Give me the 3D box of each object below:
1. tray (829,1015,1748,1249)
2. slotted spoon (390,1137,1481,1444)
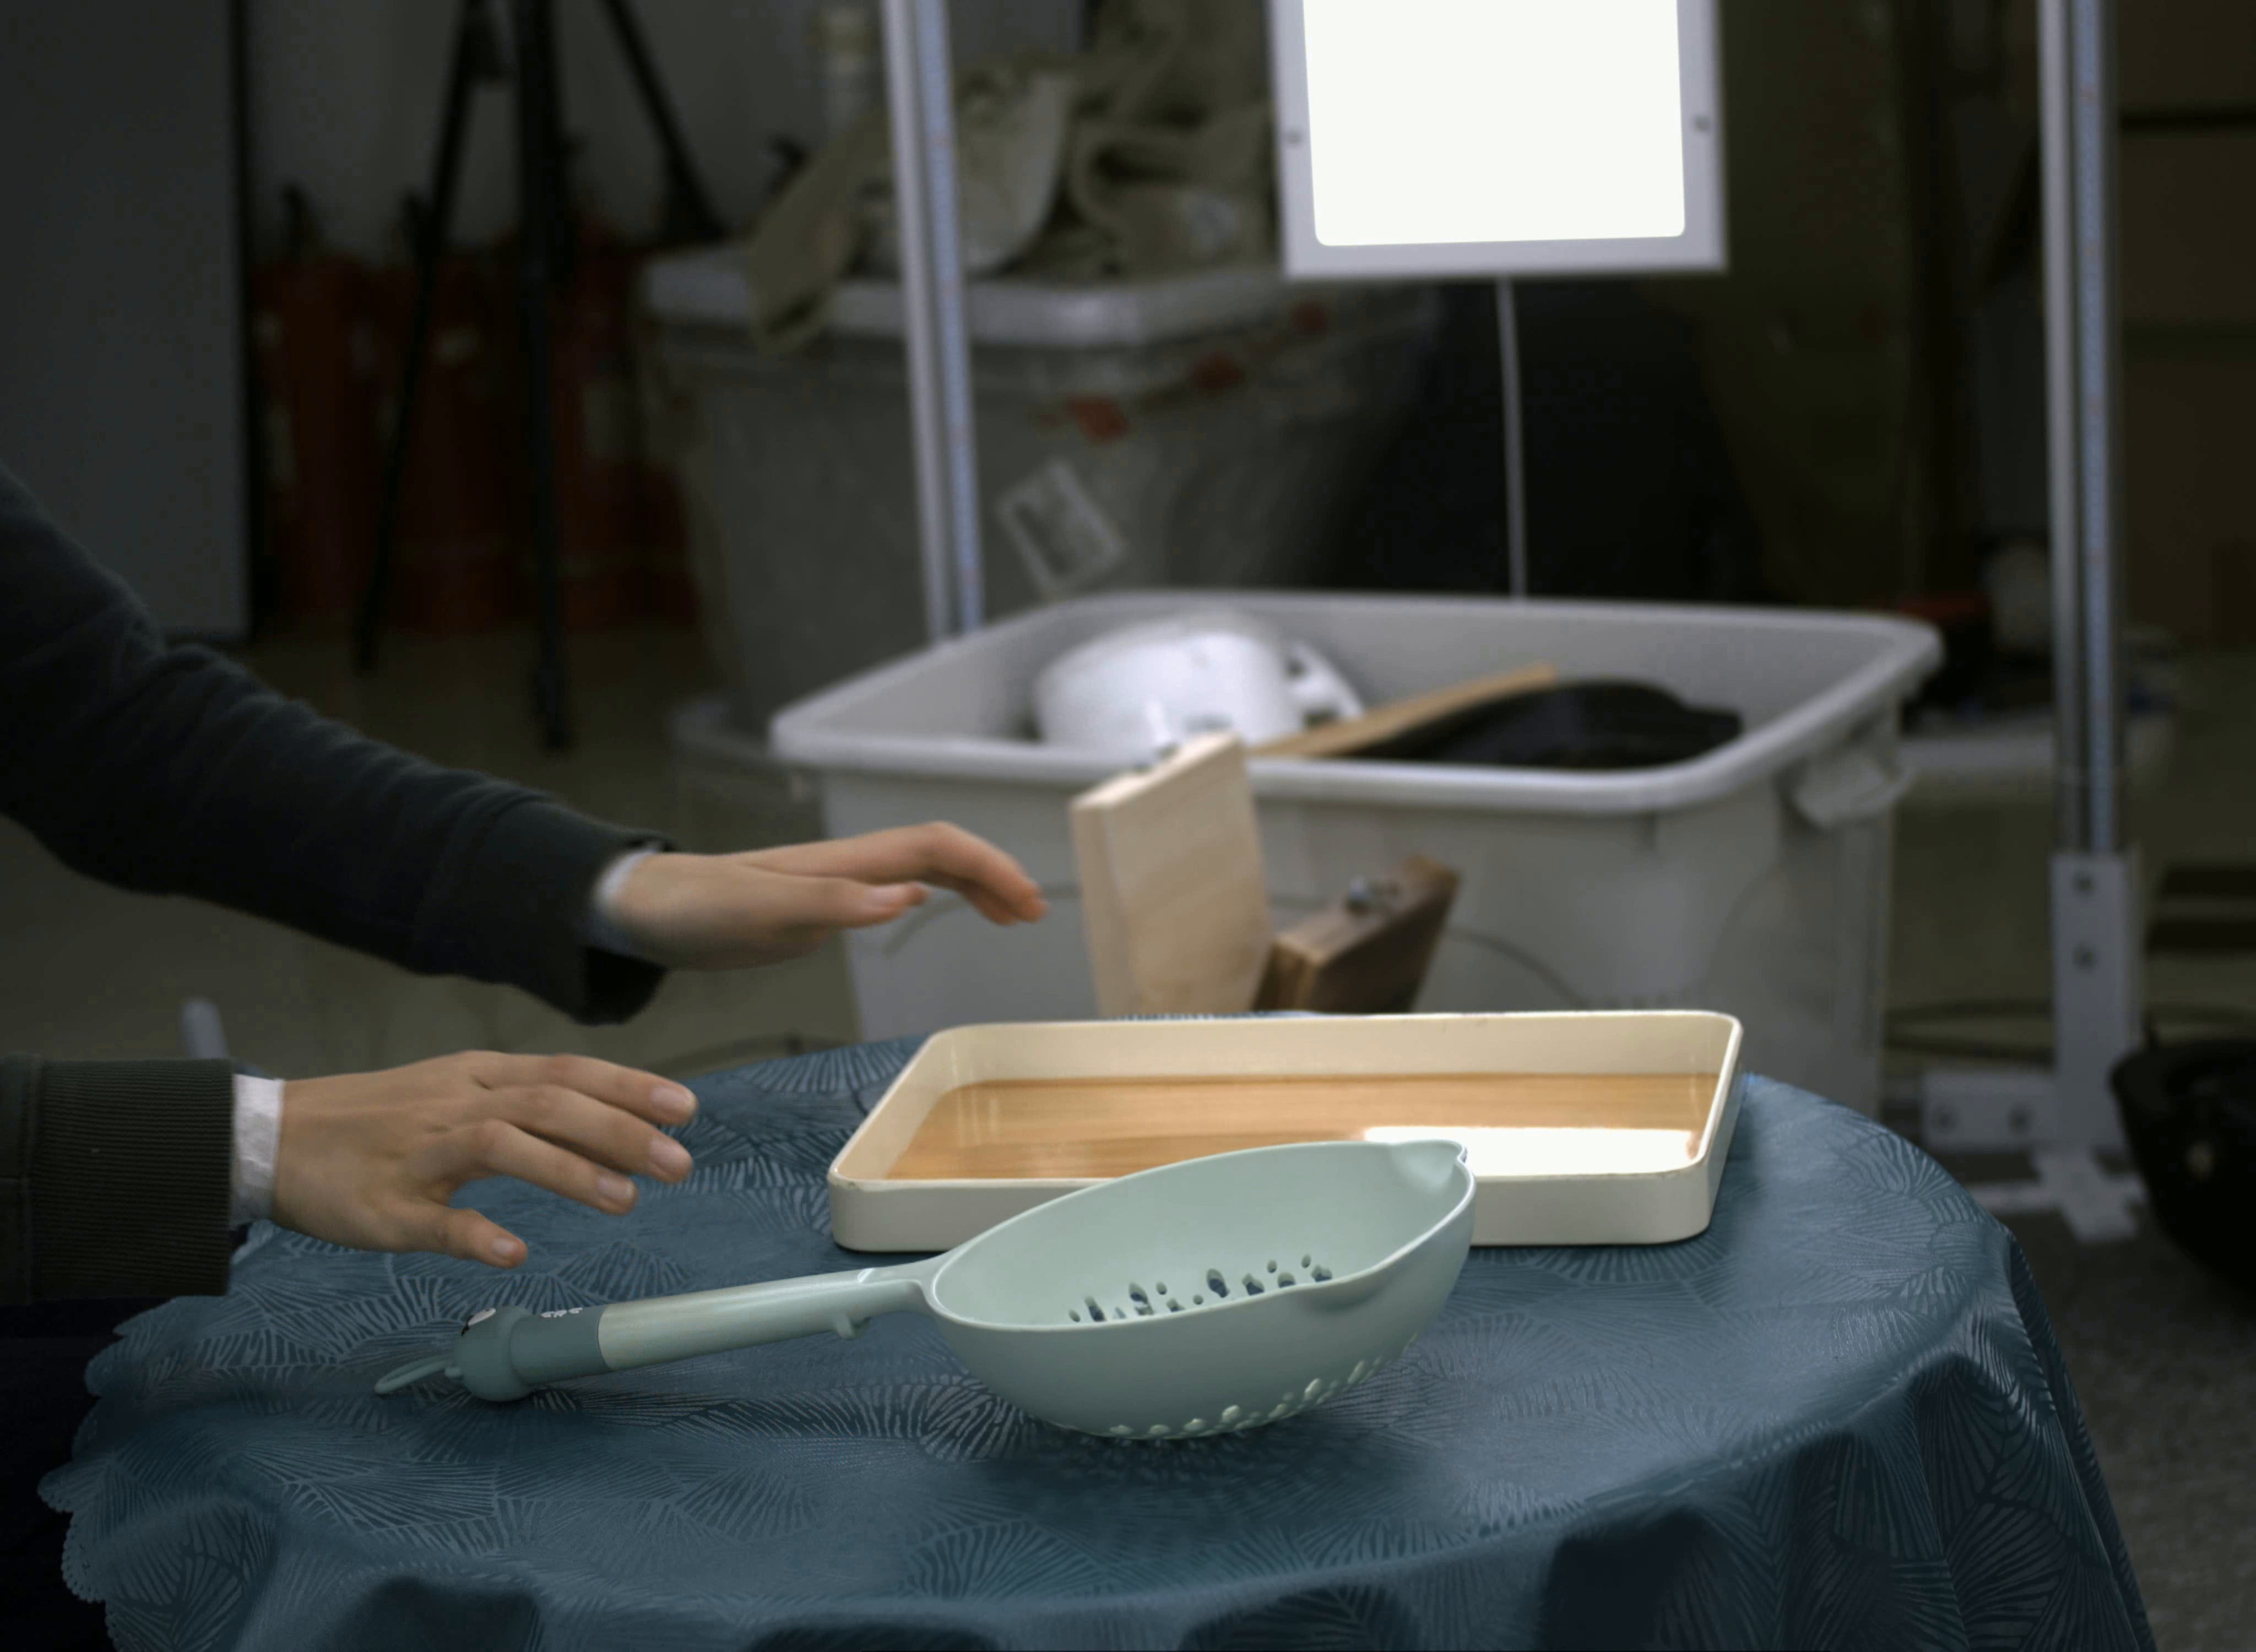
[{"bbox_3d":[0.060,0.106,1.908,0.303,0.027,0.189,-1,14,13],"label":"tray"},{"bbox_3d":[-0.066,0.148,1.698,0.363,0.075,0.167,-1,14,18],"label":"slotted spoon"}]
